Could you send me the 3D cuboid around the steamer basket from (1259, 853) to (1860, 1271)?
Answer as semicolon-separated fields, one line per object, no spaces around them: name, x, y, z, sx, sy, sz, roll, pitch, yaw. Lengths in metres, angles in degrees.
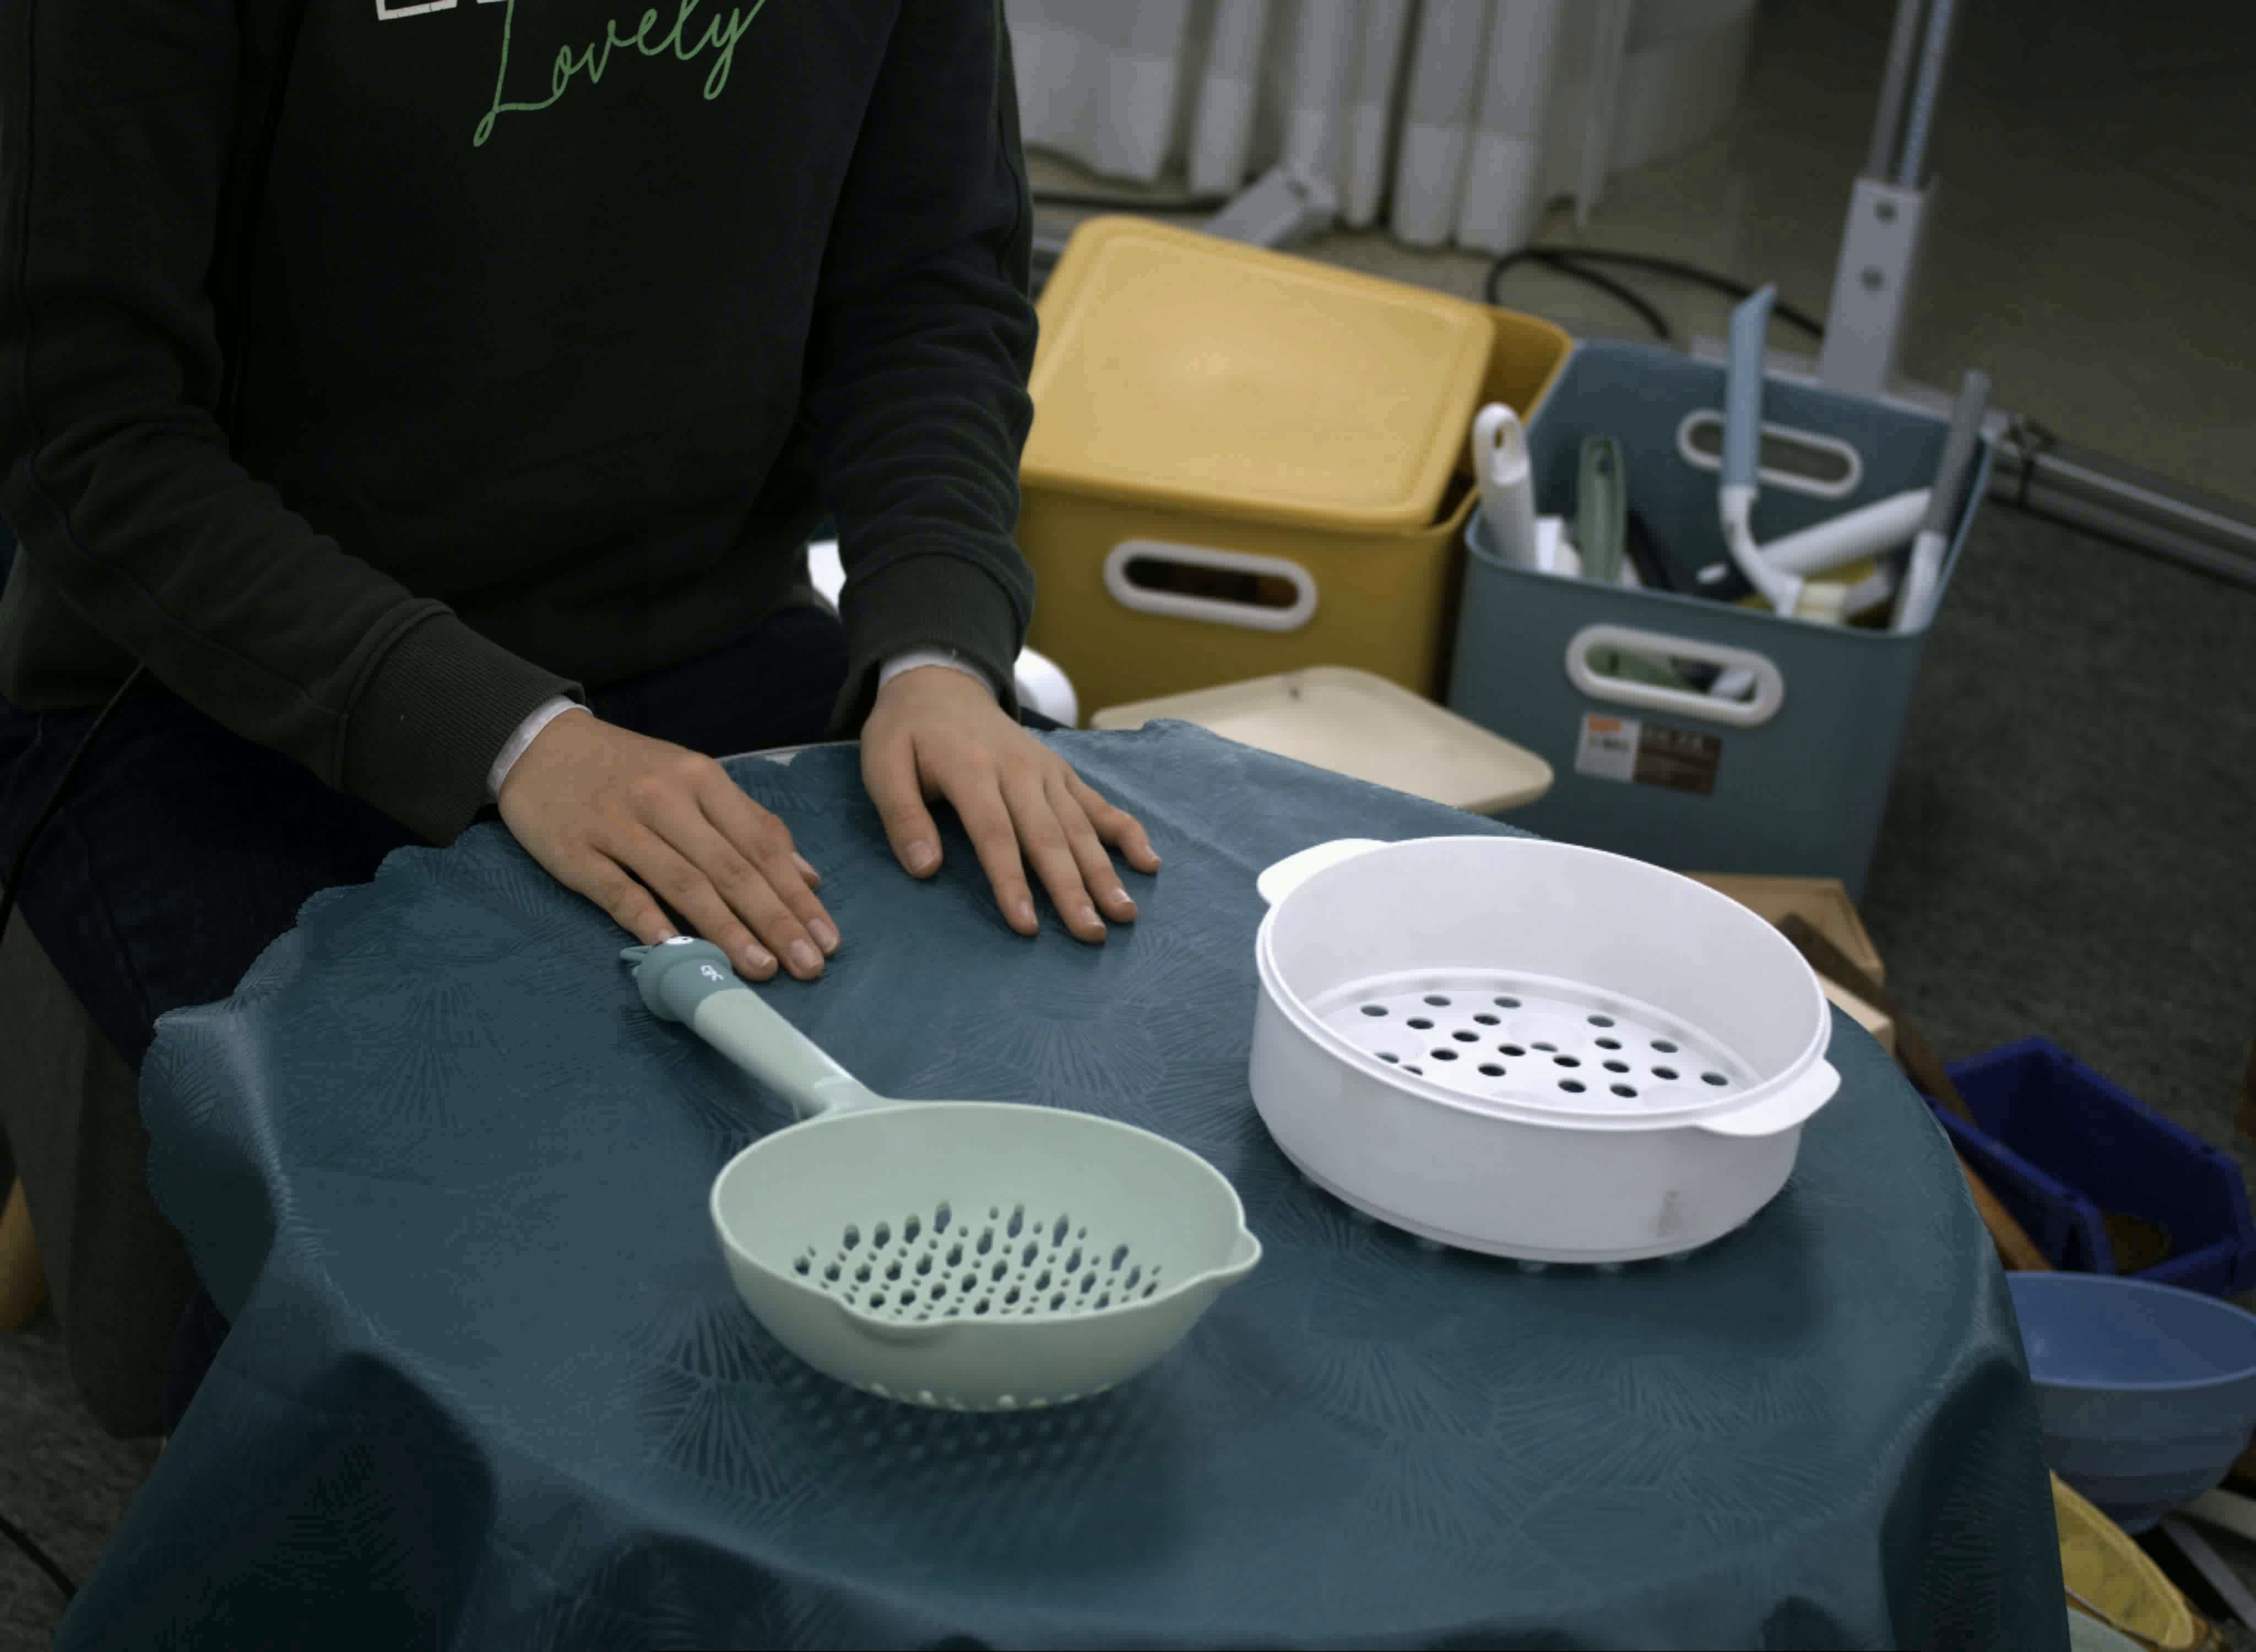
steamer basket;0.144;0.082;1.844;0.232;0.069;0.201;26;31;34

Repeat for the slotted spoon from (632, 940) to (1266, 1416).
slotted spoon;-0.091;0.100;1.755;0.168;0.075;0.362;-7;29;-26
